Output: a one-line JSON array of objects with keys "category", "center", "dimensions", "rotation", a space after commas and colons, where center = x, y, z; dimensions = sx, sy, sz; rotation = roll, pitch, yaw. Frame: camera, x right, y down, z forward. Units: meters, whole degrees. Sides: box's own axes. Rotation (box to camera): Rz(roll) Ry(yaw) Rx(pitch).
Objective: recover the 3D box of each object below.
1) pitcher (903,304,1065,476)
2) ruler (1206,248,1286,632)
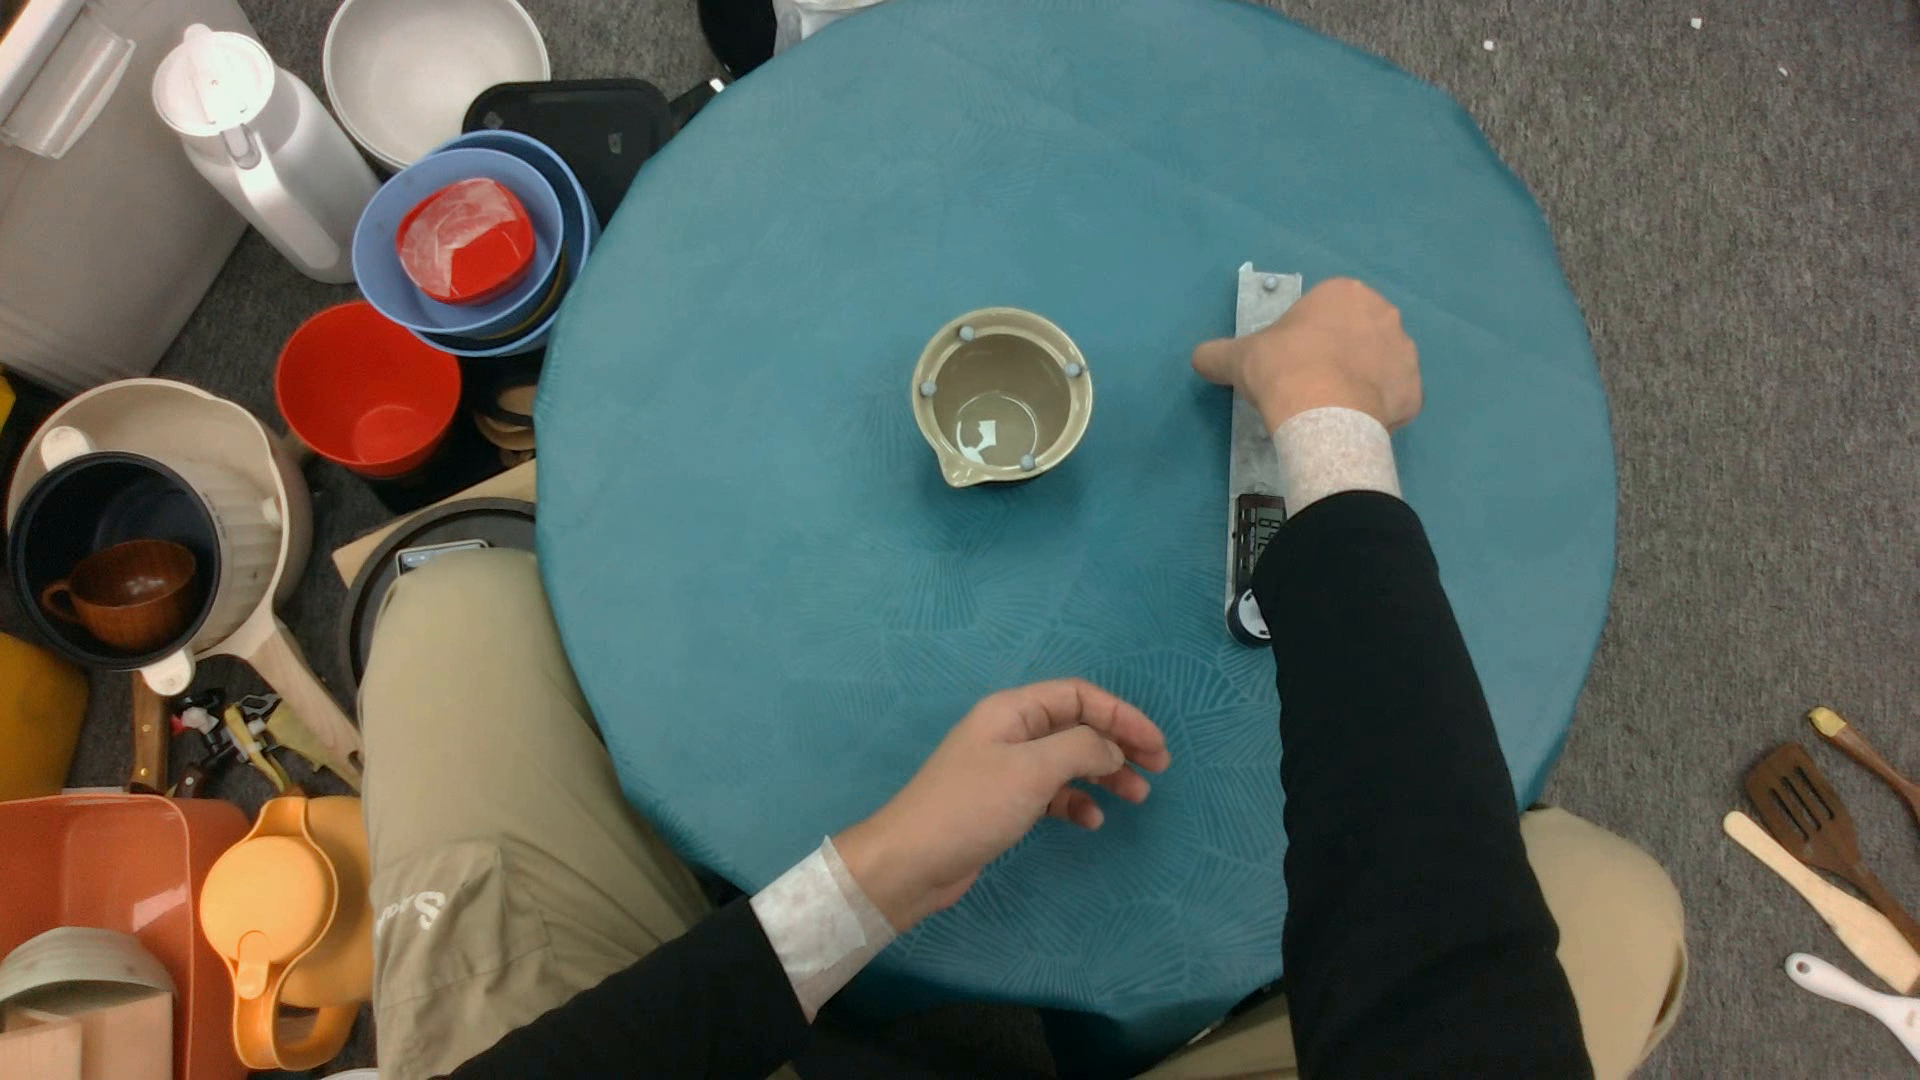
[{"category": "pitcher", "center": [0.009, -0.069, 0.727], "dimensions": [0.083, 0.071, 0.096], "rotation": [27, 75, 4]}, {"category": "ruler", "center": [0.160, -0.059, 0.754], "dimensions": [0.038, 0.024, 0.218], "rotation": [7, 78, -8]}]
